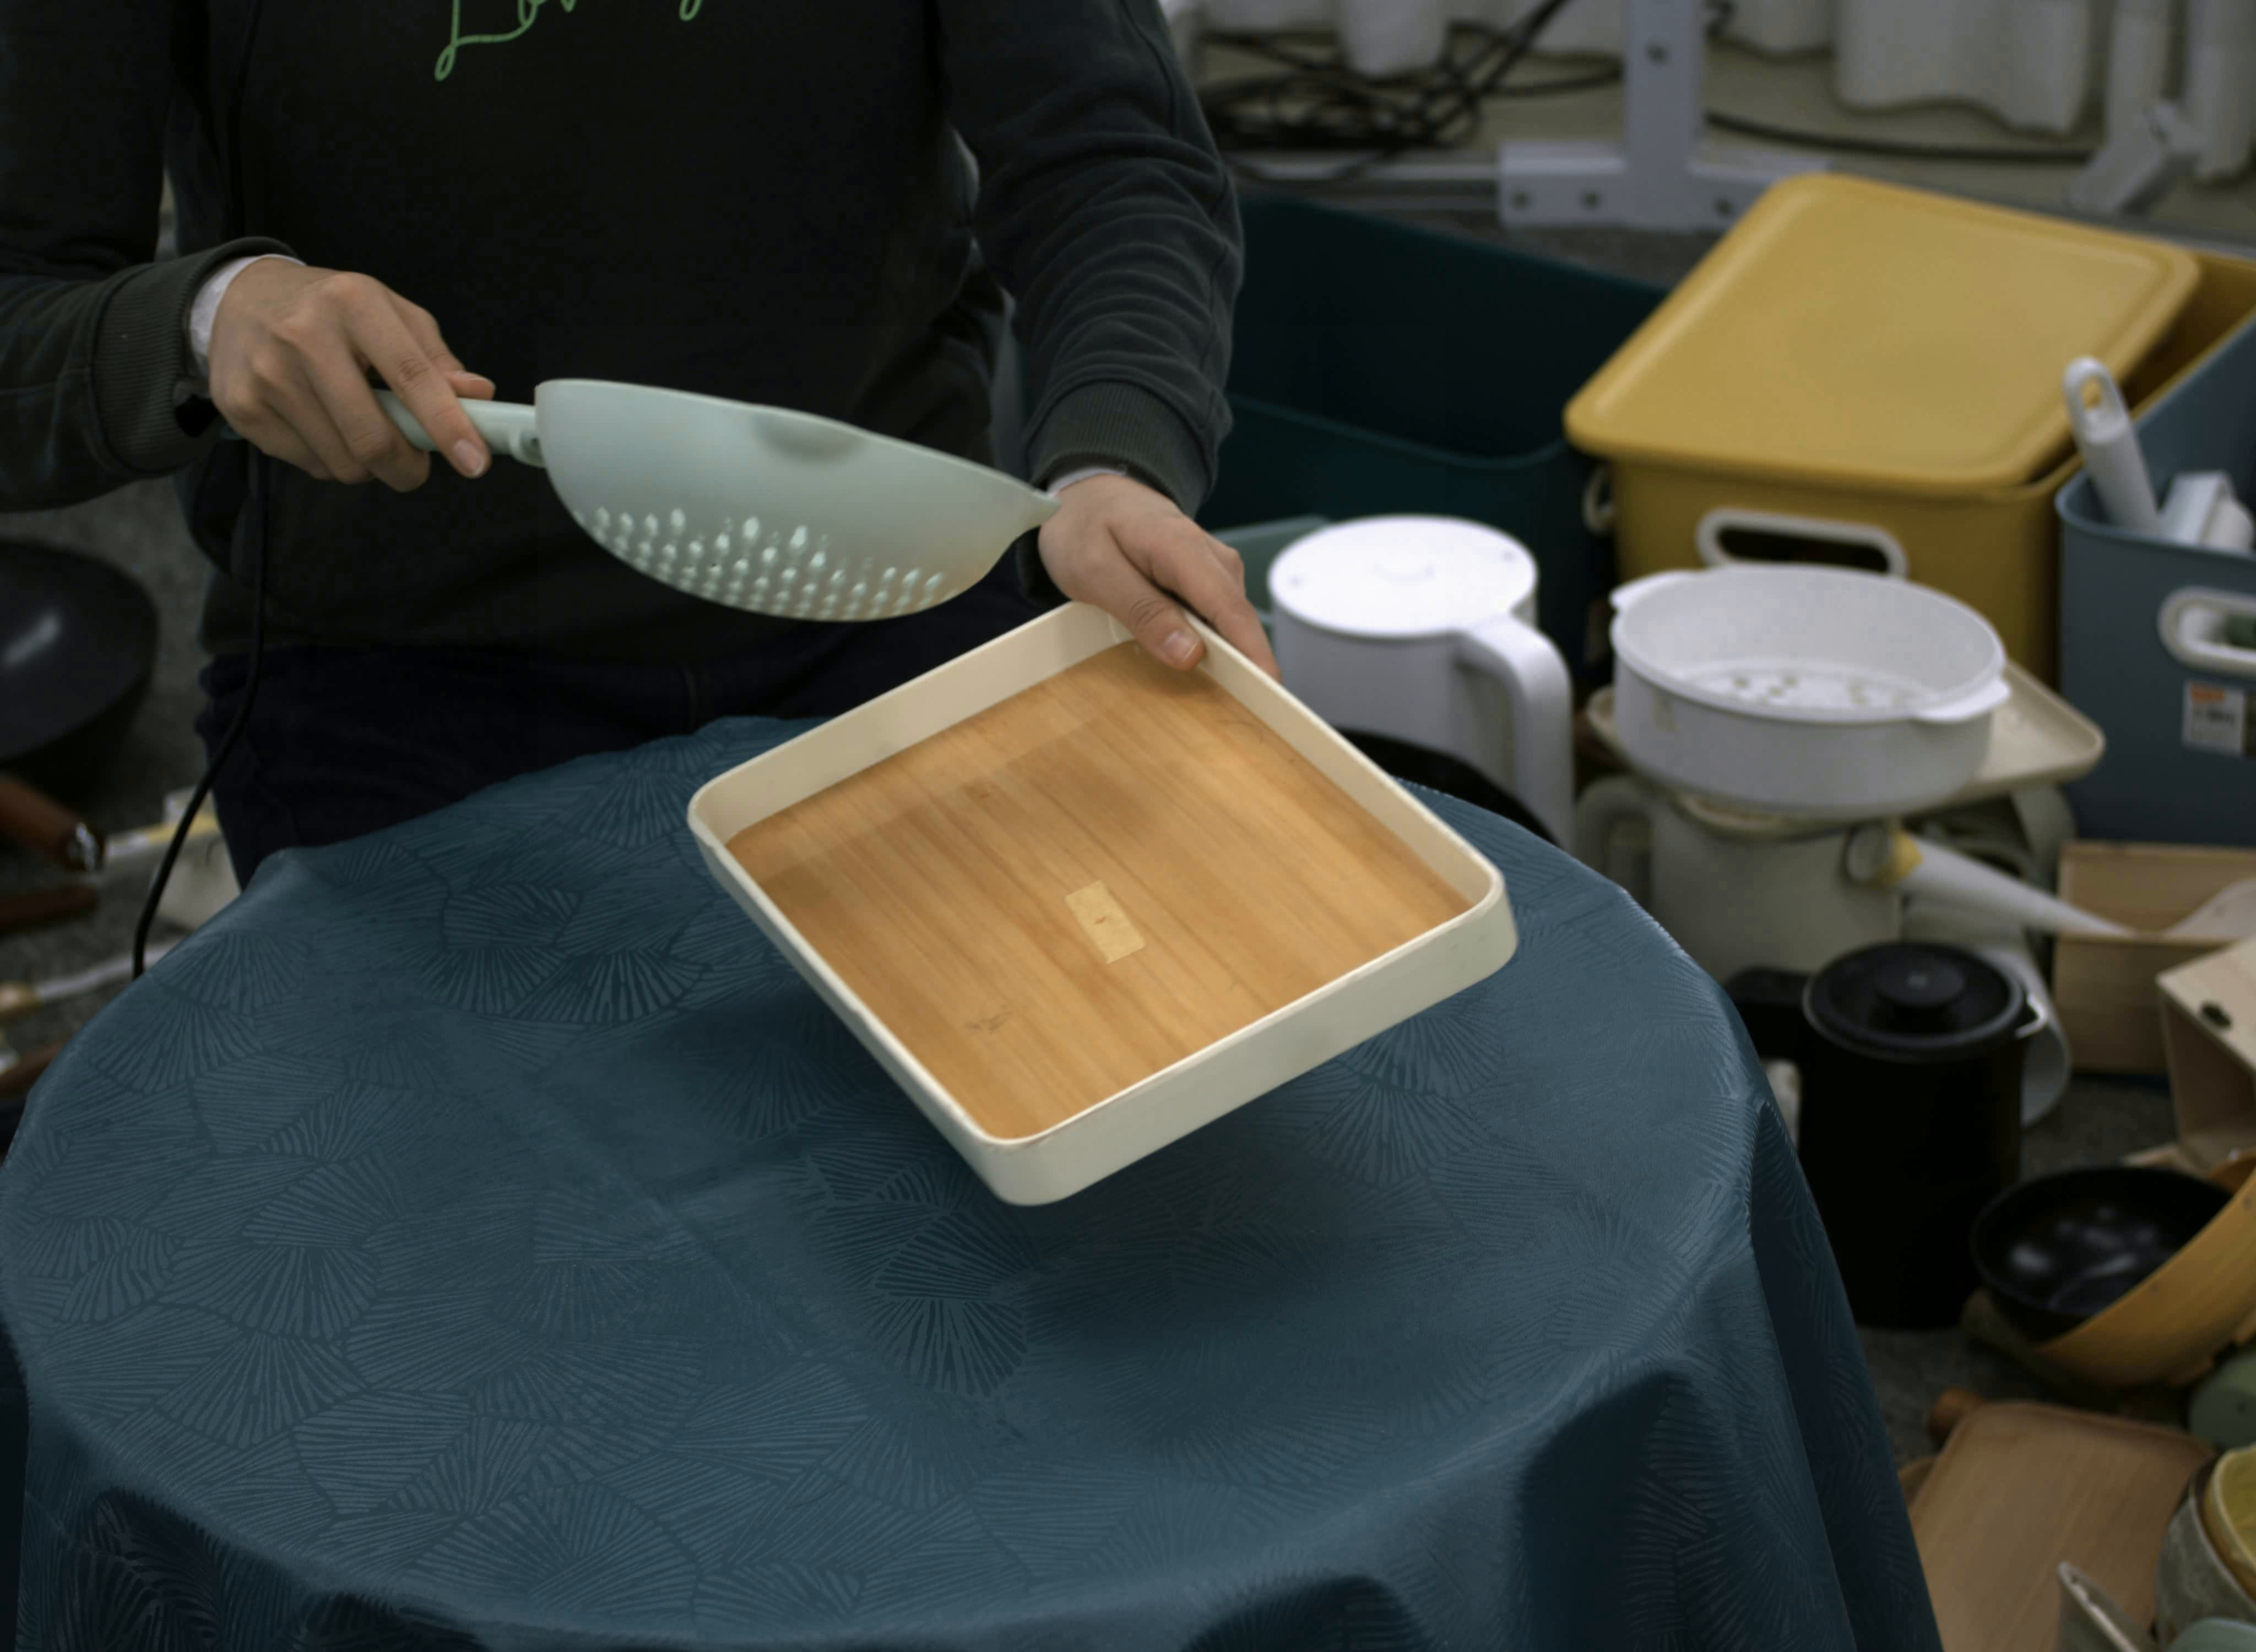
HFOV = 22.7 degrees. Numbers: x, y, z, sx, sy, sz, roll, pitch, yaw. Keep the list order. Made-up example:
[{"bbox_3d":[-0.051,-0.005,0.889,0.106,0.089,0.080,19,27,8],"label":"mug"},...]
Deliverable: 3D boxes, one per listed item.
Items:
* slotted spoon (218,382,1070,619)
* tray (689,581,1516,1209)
[{"bbox_3d":[-0.187,-0.126,1.924,0.357,0.075,0.169,18,1,40],"label":"slotted spoon"},{"bbox_3d":[-0.015,0.017,1.871,0.192,0.027,0.302,-26,31,-13],"label":"tray"}]
